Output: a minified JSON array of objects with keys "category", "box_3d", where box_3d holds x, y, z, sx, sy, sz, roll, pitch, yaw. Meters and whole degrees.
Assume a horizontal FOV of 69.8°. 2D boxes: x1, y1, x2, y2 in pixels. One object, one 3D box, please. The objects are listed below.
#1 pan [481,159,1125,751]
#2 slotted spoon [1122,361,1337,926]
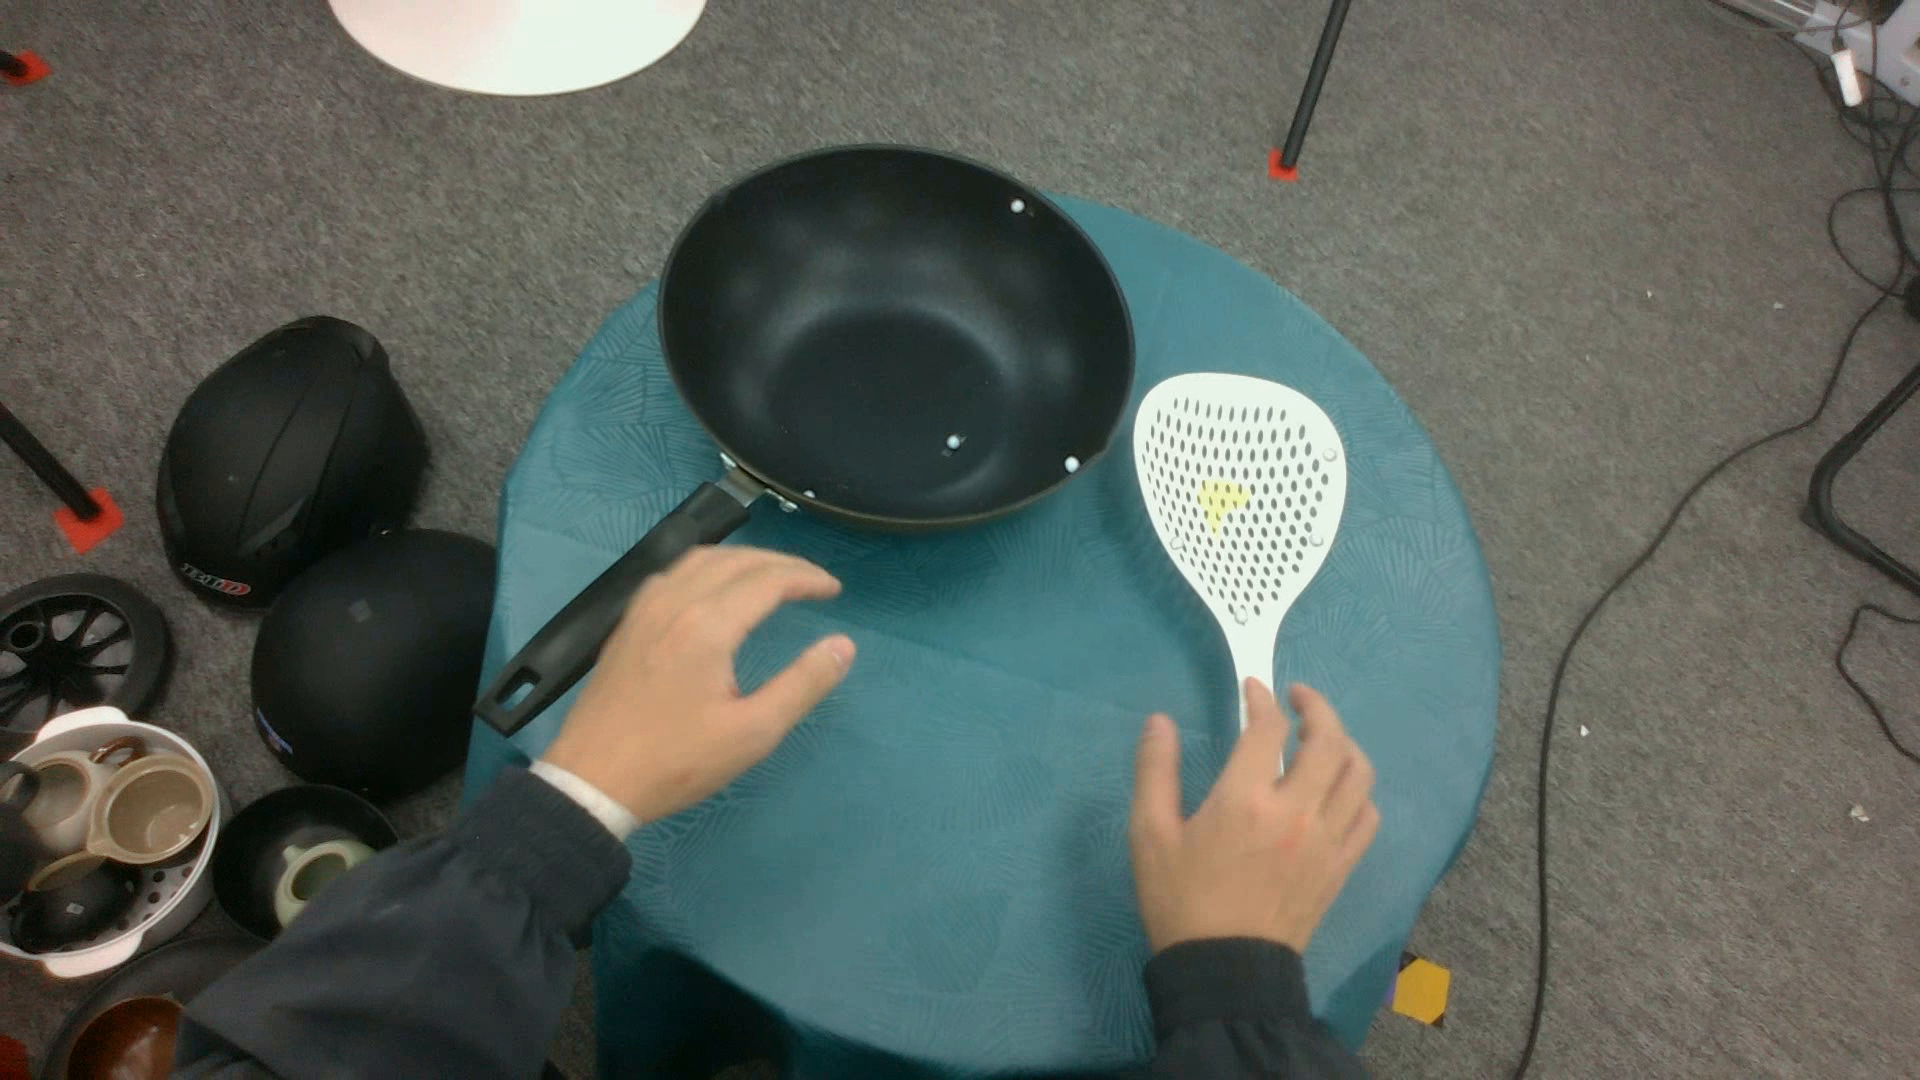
[{"category":"pan","box_3d":[-0.094,-0.042,0.807,0.288,0.086,0.465,32,61,12]},{"category":"slotted spoon","box_3d":[0.167,0.046,0.810,0.137,0.050,0.349,3,59,-7]}]
